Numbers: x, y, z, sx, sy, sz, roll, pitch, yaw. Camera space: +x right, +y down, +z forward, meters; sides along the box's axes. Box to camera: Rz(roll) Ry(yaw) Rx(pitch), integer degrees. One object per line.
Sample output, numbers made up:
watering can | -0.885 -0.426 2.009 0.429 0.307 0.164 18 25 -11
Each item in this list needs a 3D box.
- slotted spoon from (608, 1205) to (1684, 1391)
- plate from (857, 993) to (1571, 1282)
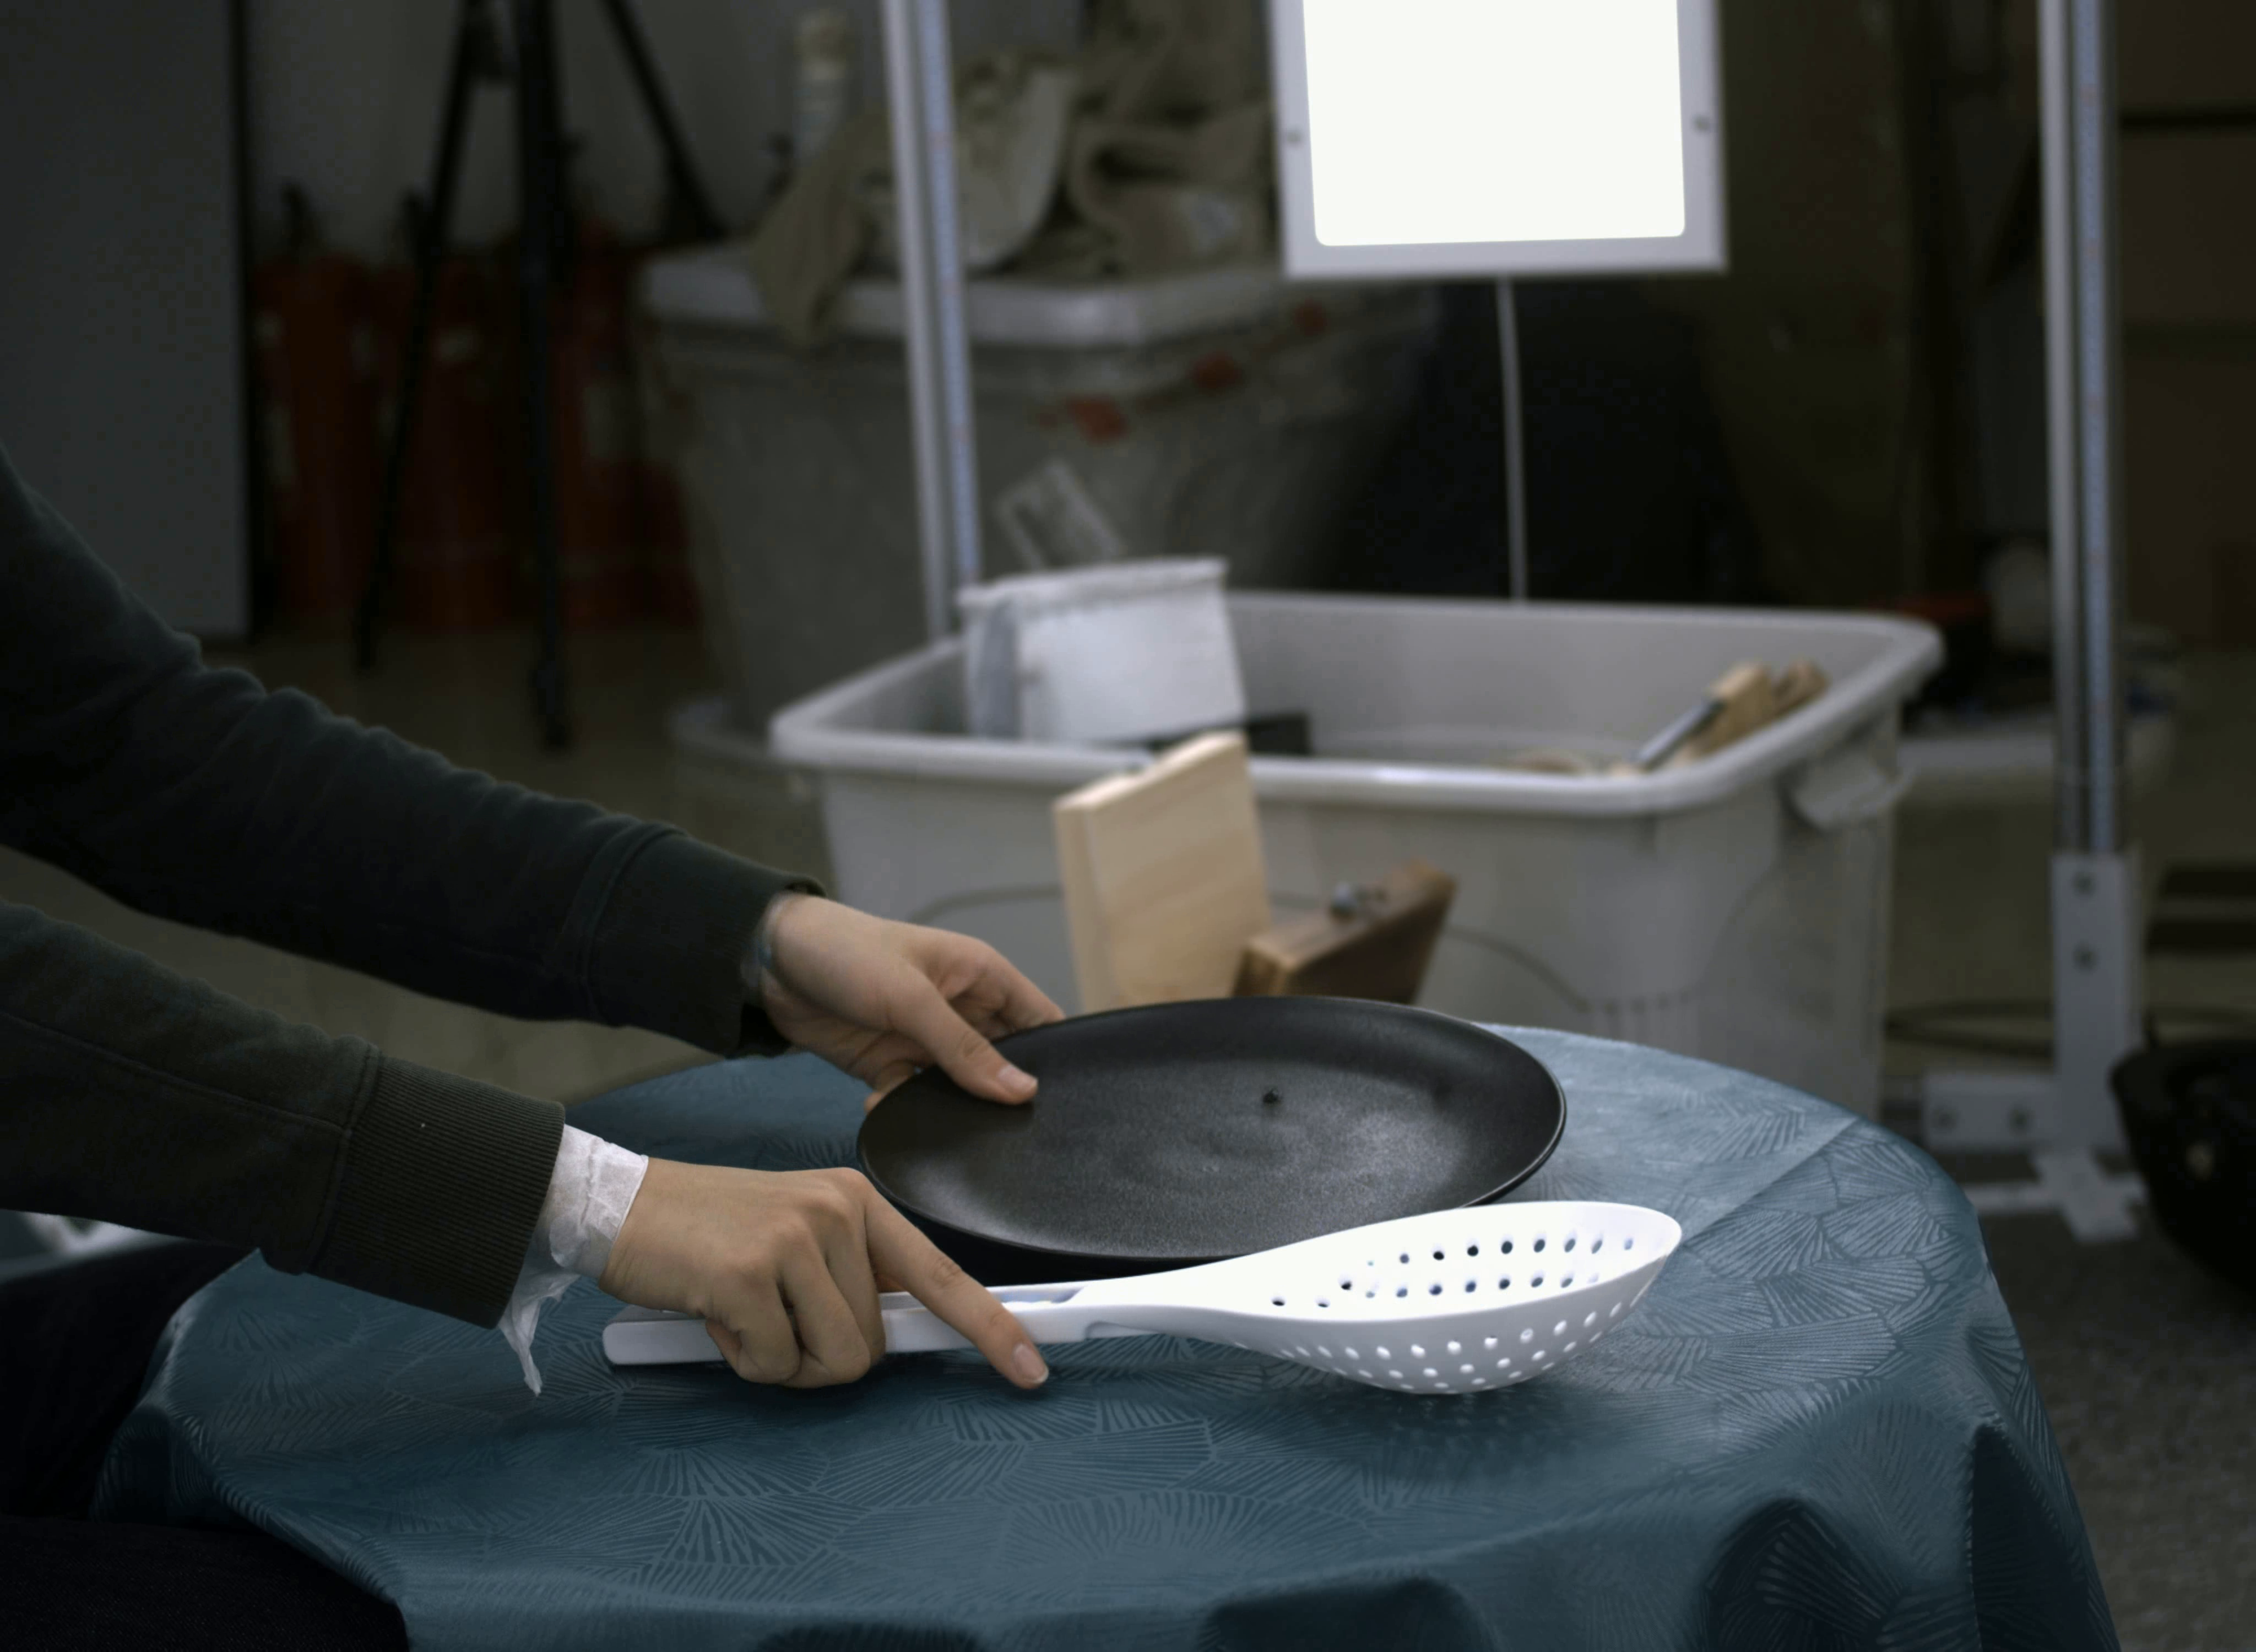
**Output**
slotted spoon | 0.001 0.148 1.712 0.354 0.046 0.134 -1 8 20
plate | 0.030 0.109 1.878 0.244 0.023 0.244 -5 19 0
